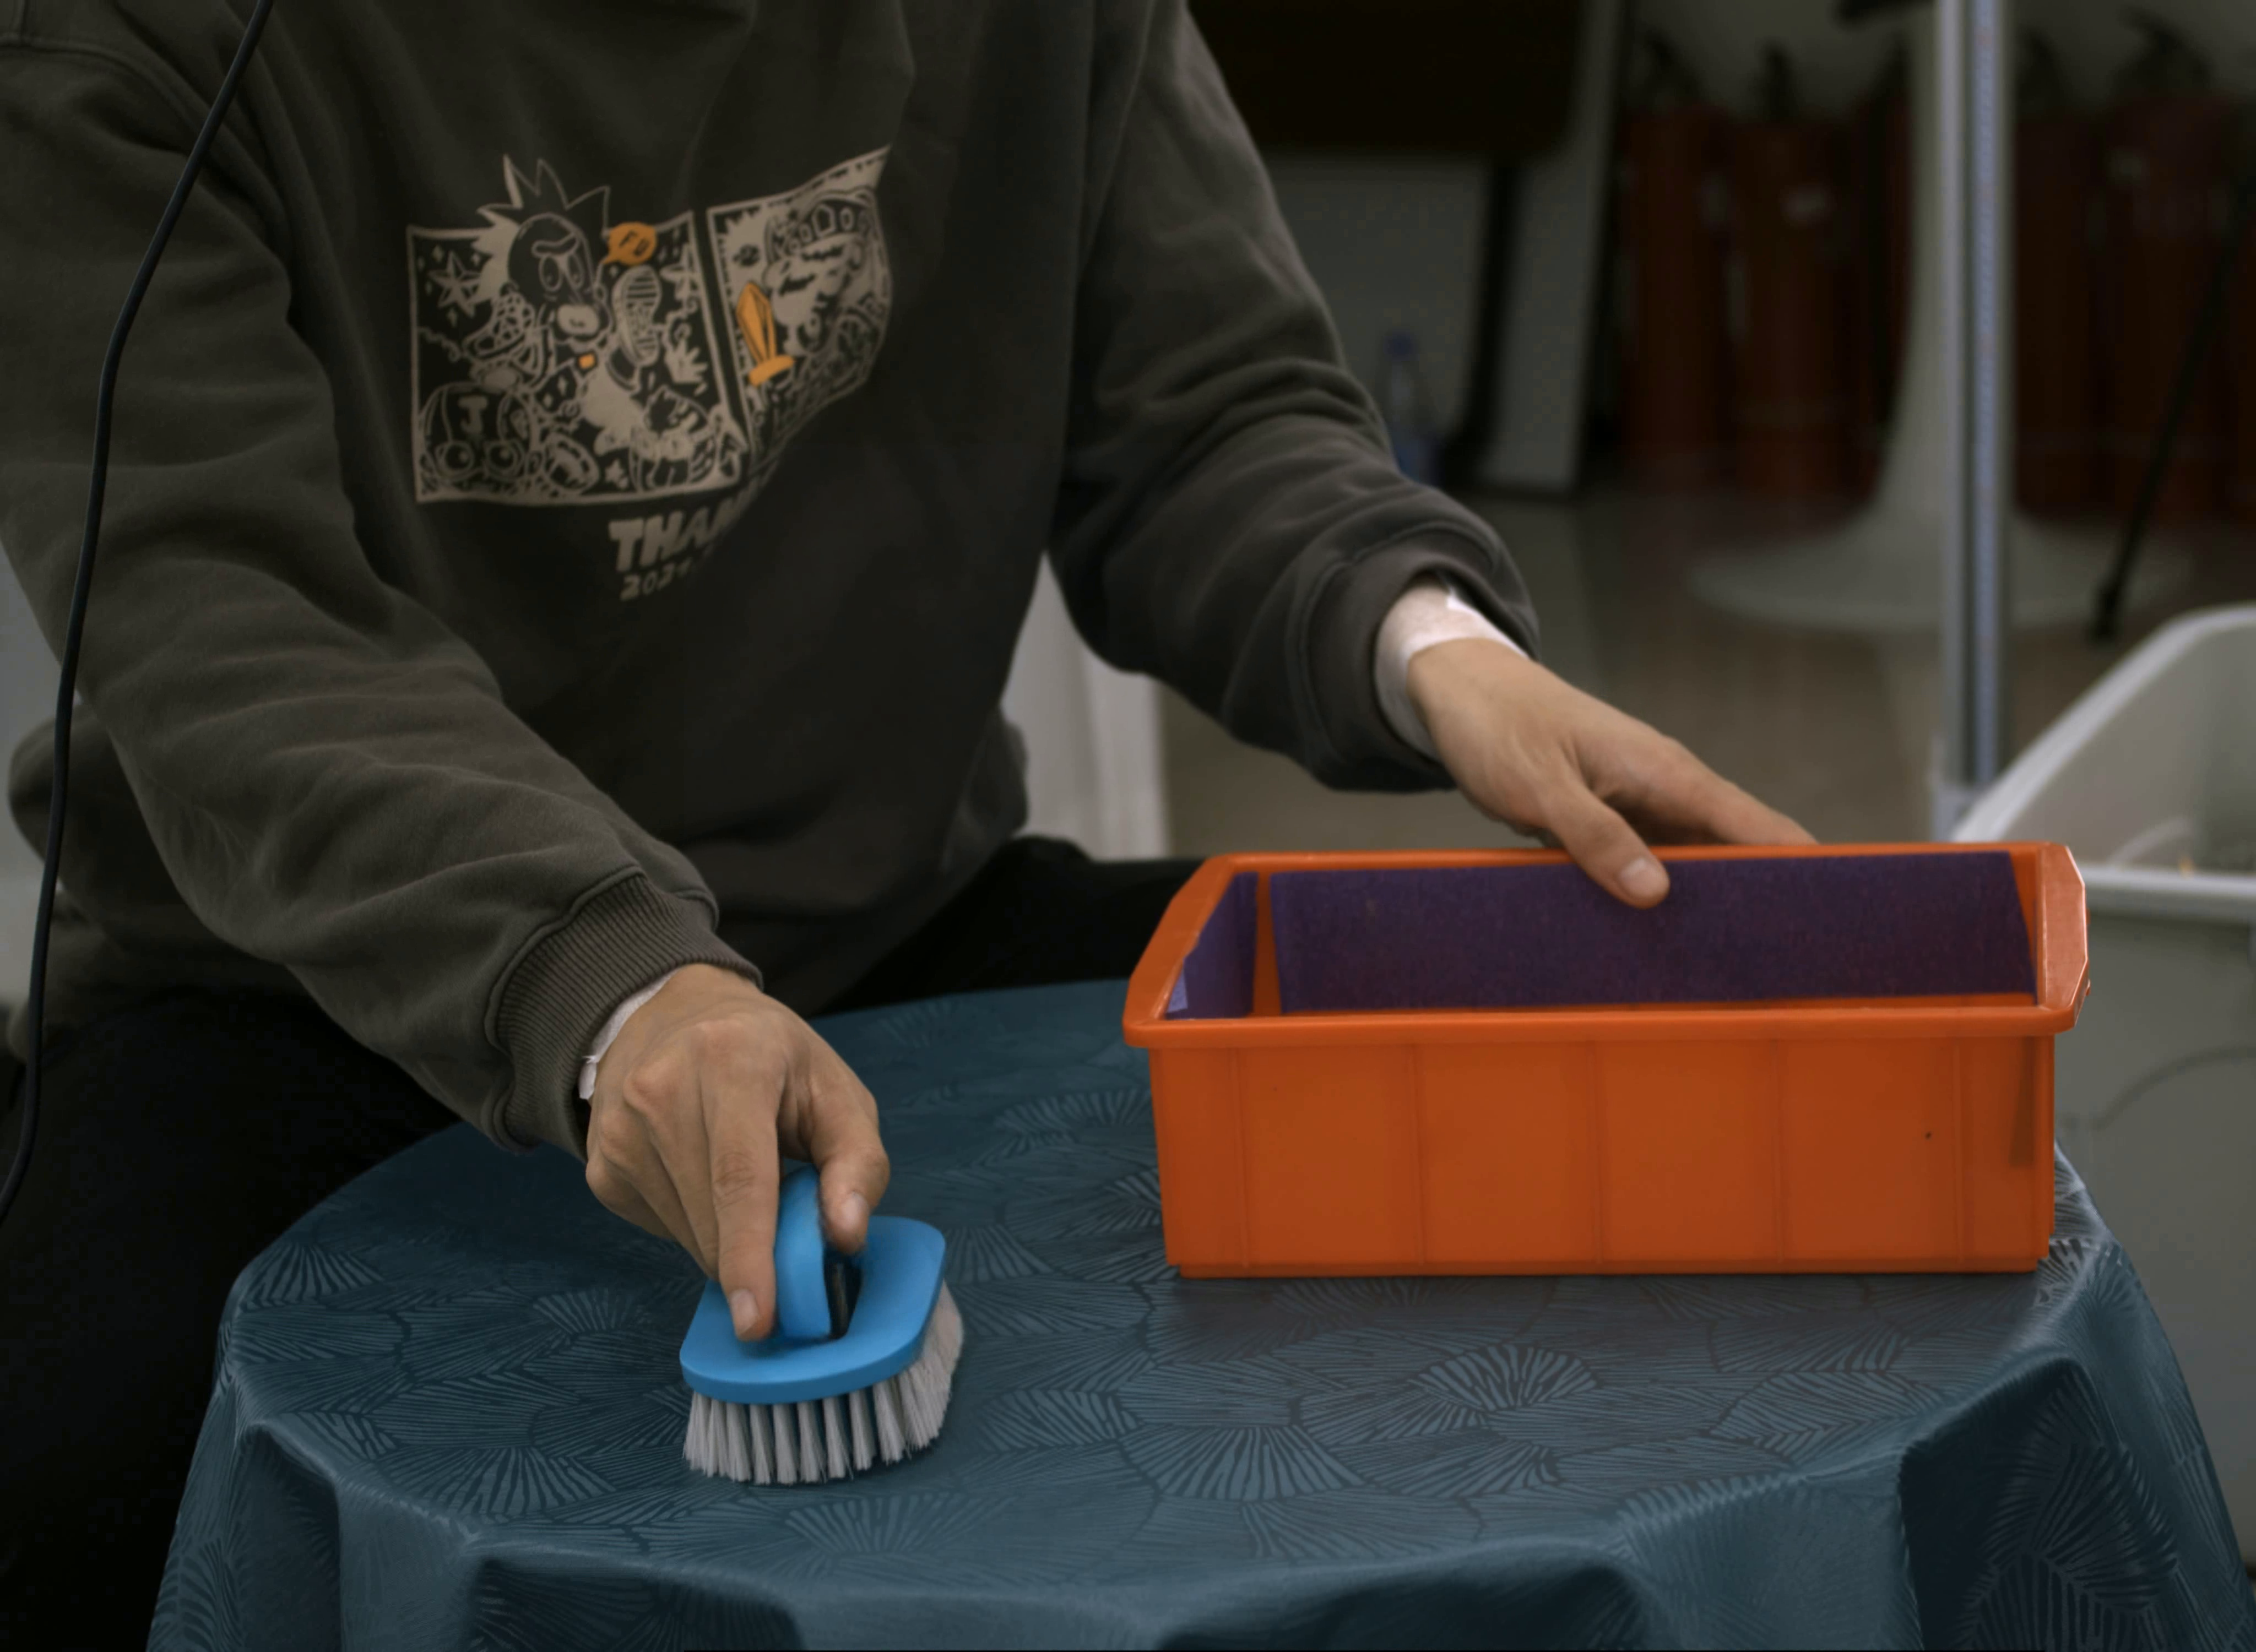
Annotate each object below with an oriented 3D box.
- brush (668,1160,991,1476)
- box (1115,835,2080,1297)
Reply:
[{"bbox_3d":[-0.089,0.138,1.587,0.084,0.064,0.141,-9,12,9],"label":"brush"},{"bbox_3d":[0.155,0.077,1.733,0.301,0.097,0.205,-1,14,11],"label":"box"}]
